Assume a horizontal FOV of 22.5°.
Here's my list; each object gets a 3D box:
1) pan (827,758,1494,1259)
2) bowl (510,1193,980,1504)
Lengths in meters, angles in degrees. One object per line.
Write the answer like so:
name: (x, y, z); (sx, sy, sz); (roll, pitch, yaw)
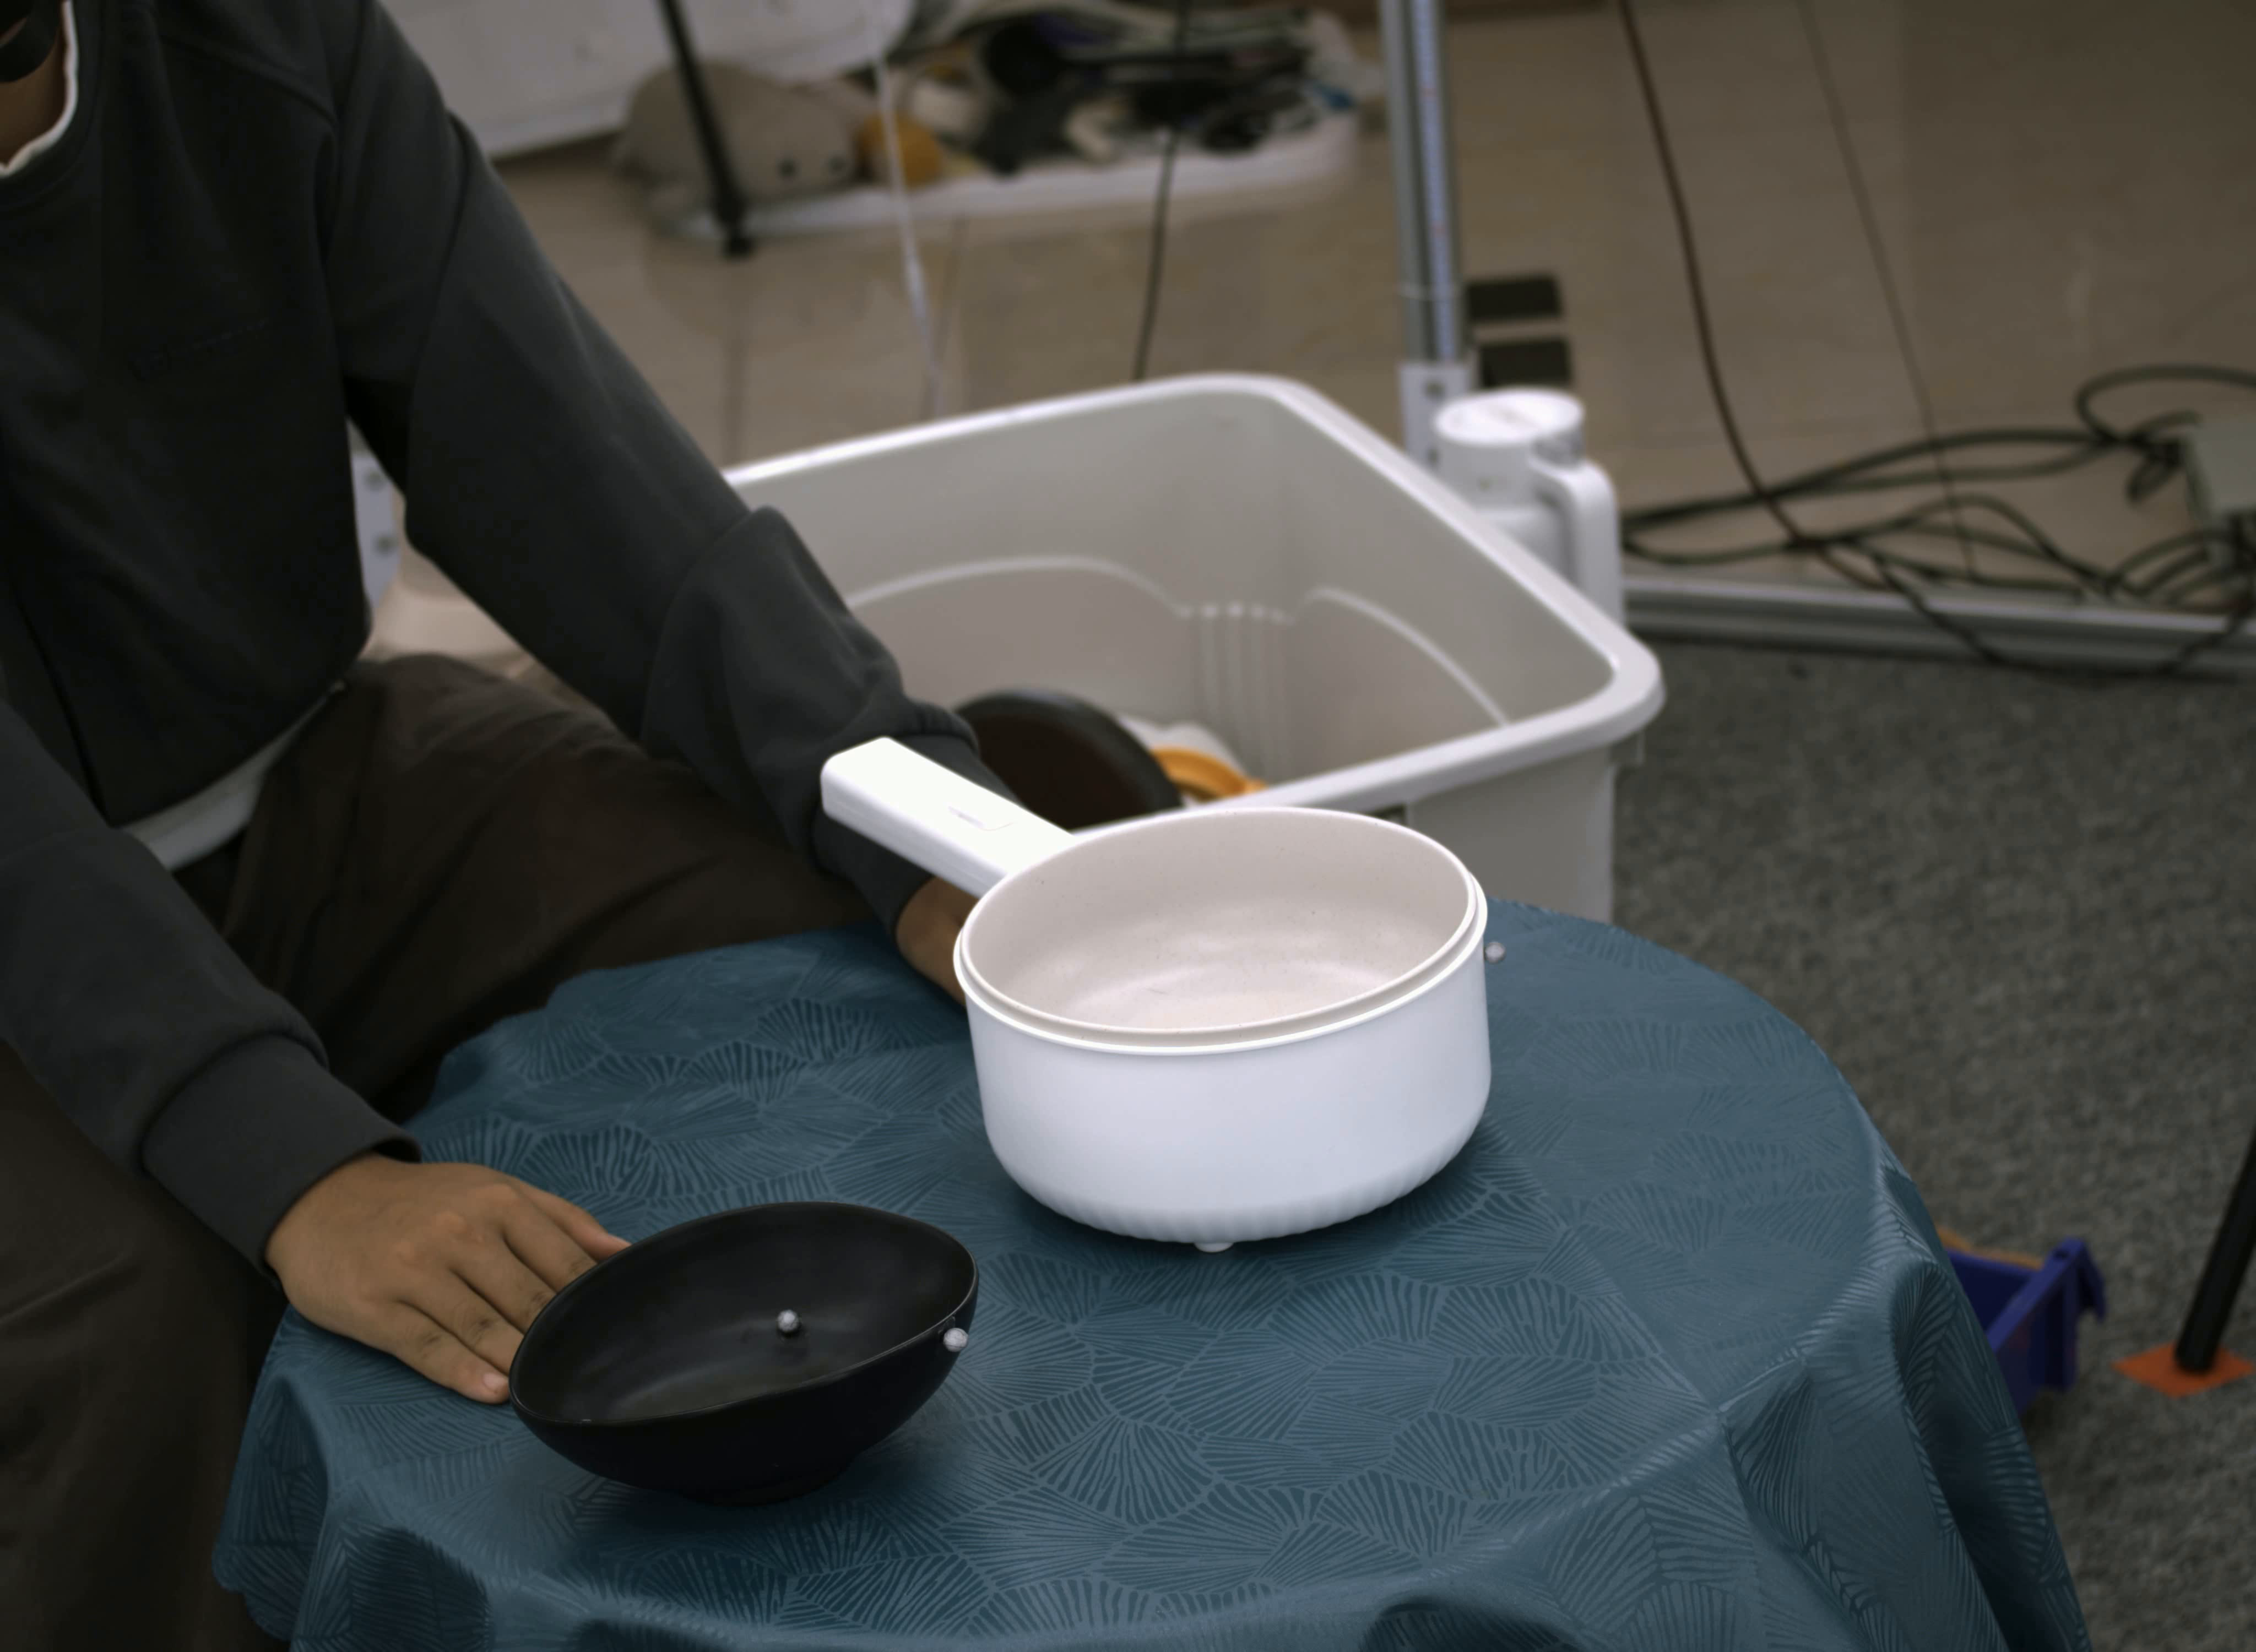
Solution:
pan: (-0.004, 0.063, 2.207); (0.200, 0.103, 0.351); (-24, 28, -29)
bowl: (-0.130, 0.193, 1.984); (0.169, 0.068, 0.135); (-17, 27, -18)
